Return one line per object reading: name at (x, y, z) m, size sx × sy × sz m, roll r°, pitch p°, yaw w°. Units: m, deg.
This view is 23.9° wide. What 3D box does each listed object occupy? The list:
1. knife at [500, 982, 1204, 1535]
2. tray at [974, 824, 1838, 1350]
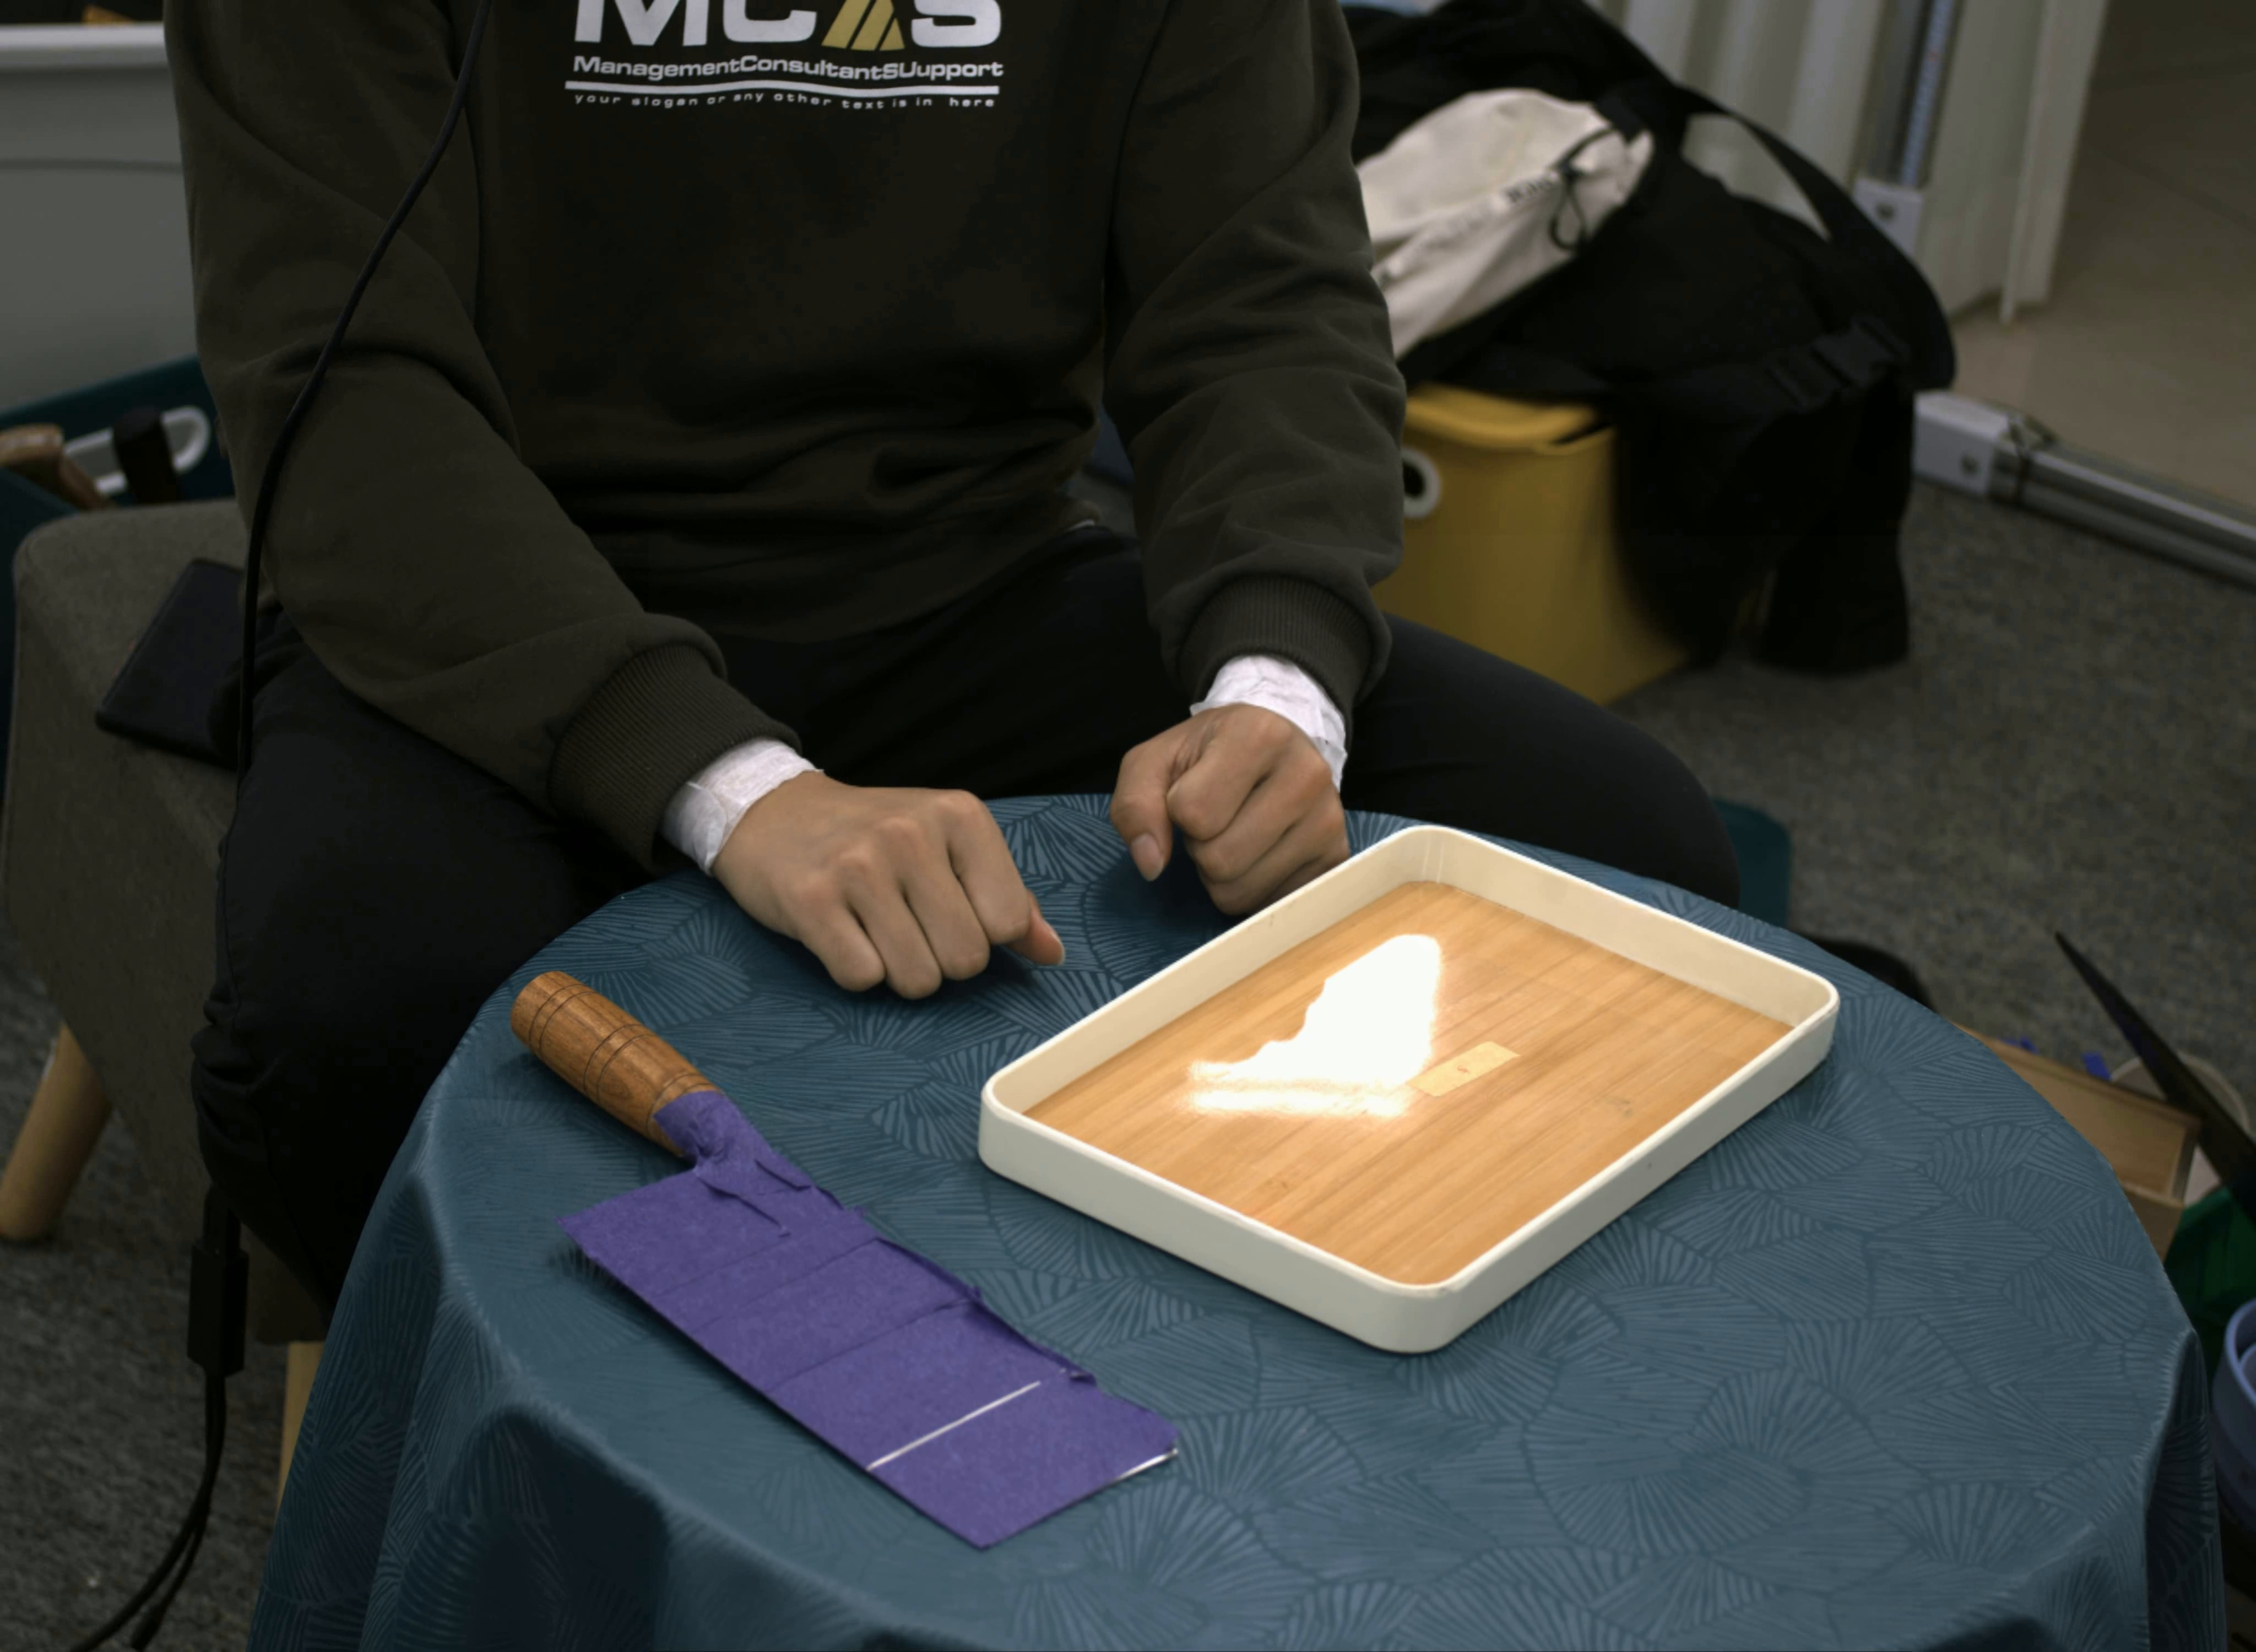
knife at (-0.118, 0.136, 1.724) m, size 0.103 × 0.032 × 0.318 m, roll -19°, pitch 37°, yaw -41°
tray at (0.102, 0.086, 1.874) m, size 0.192 × 0.027 × 0.299 m, roll 22°, pitch 31°, yaw 29°
